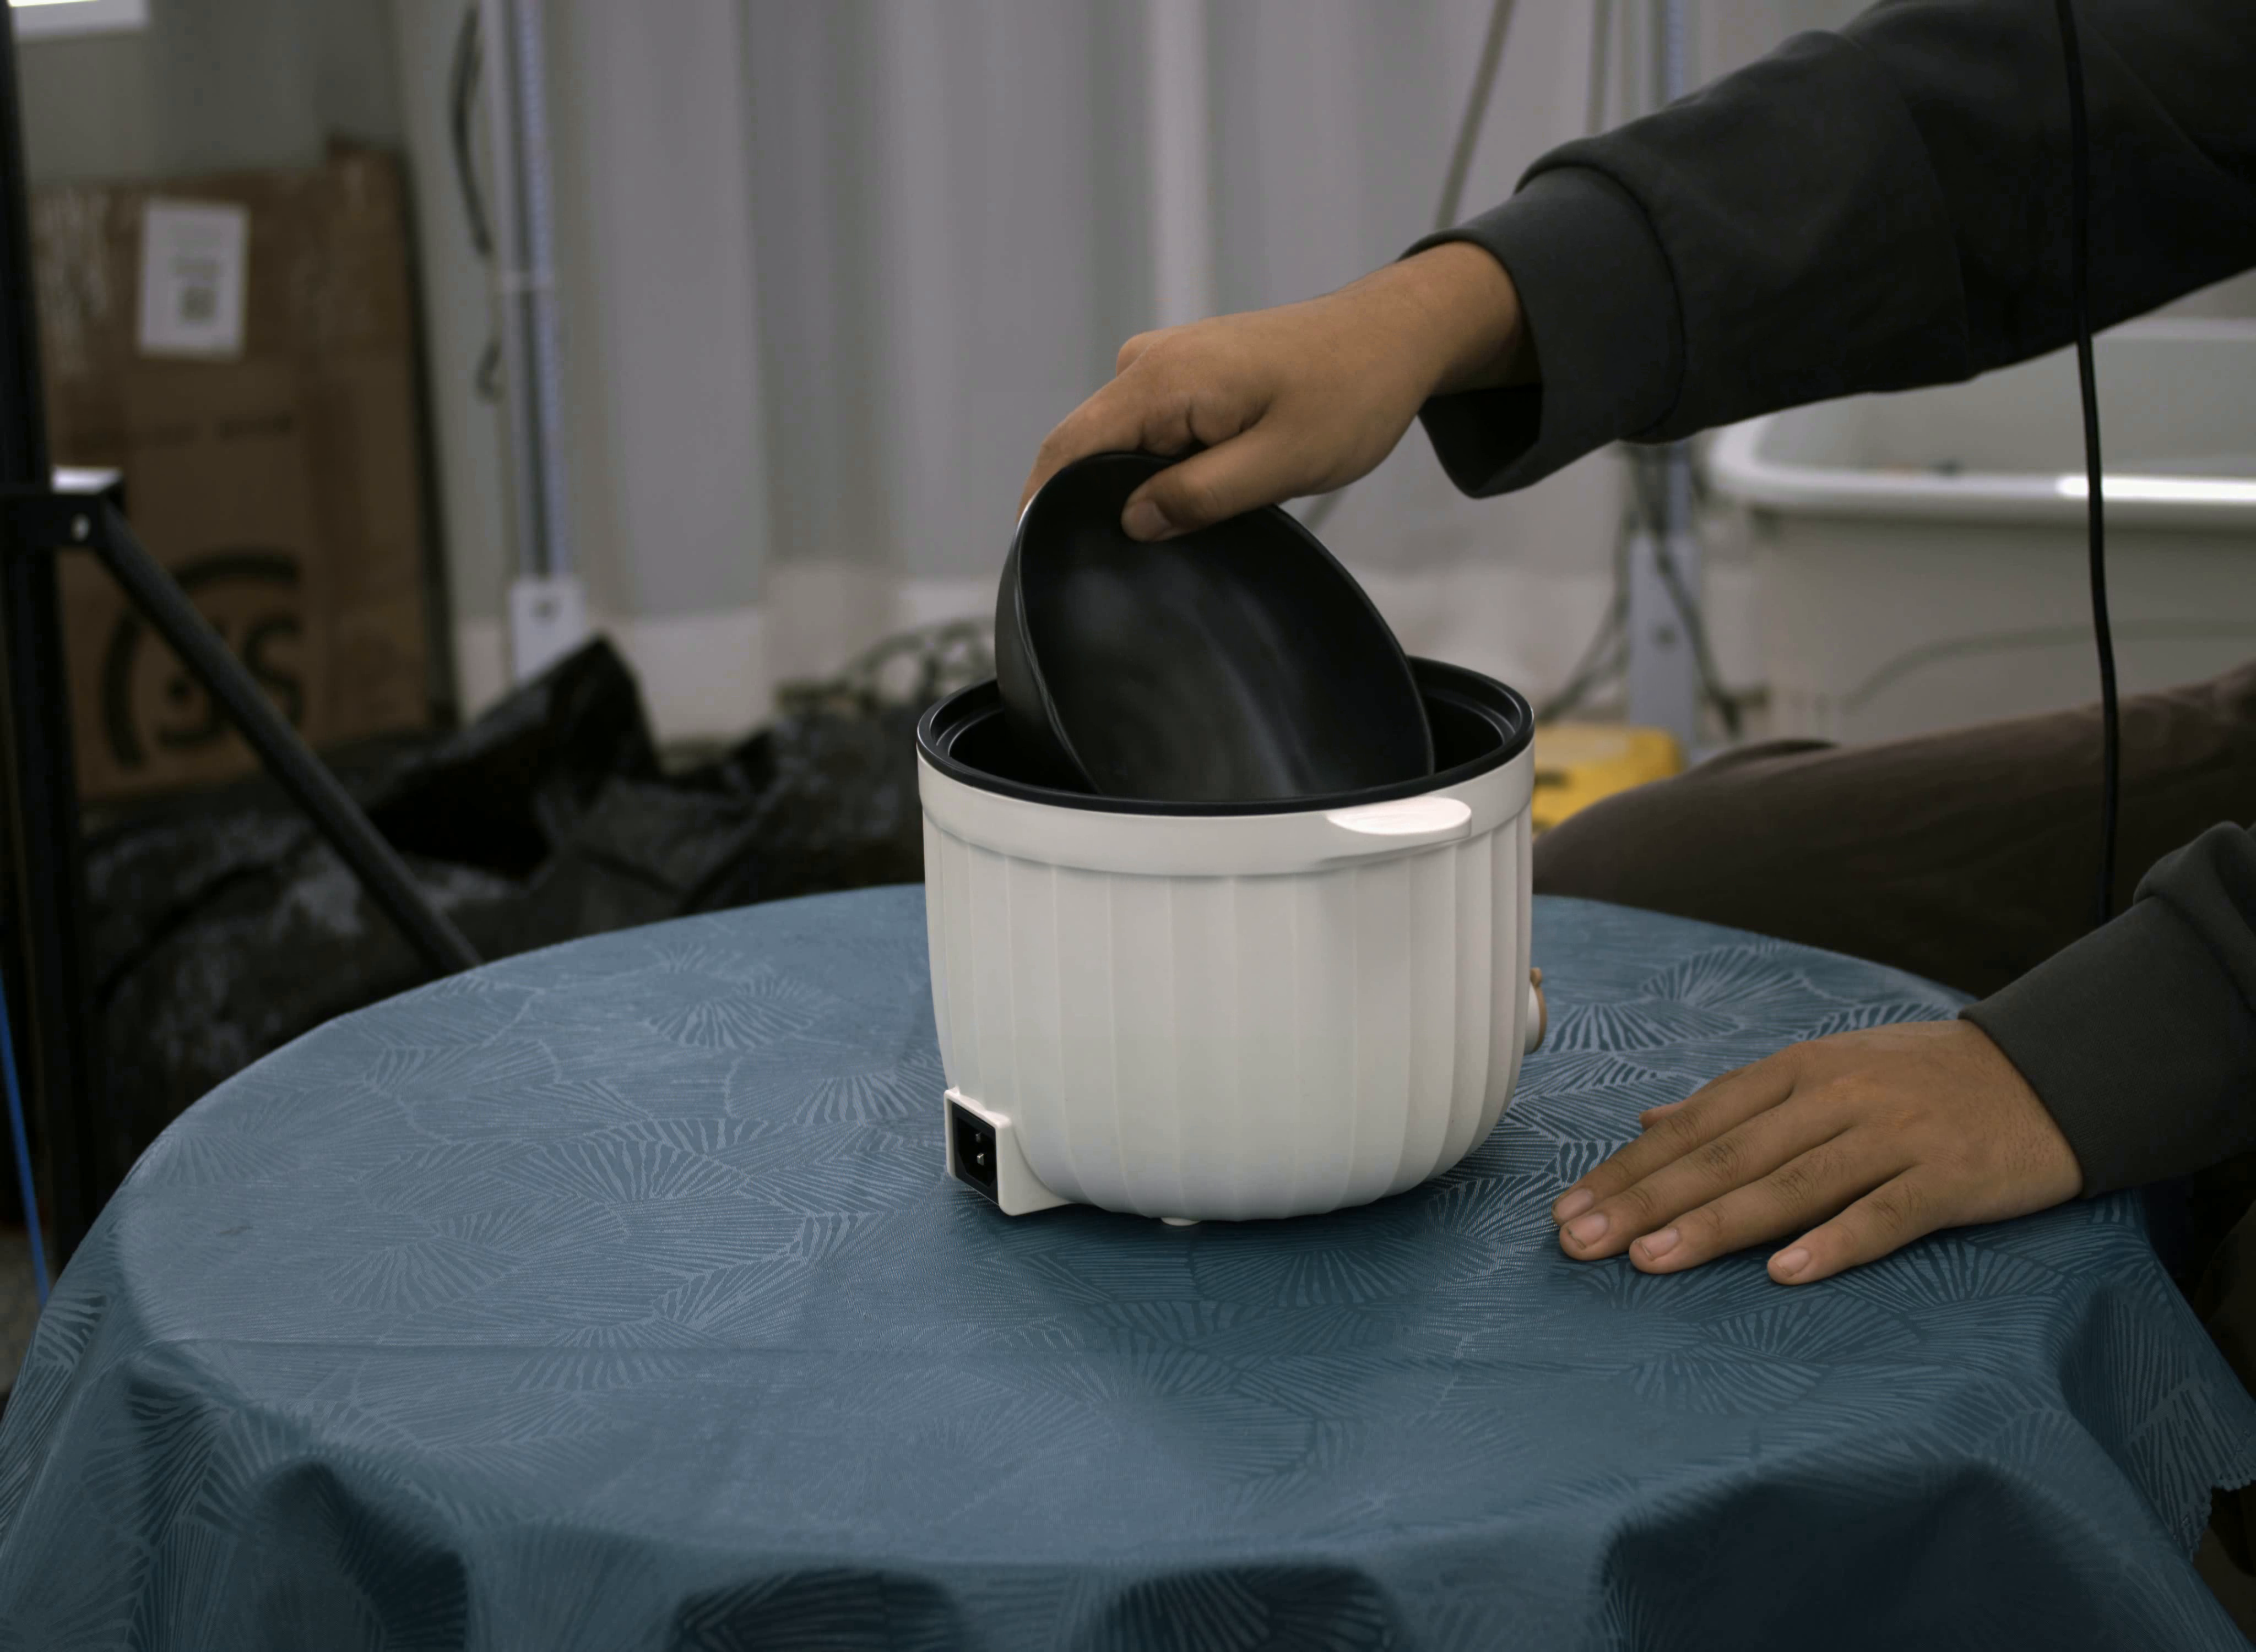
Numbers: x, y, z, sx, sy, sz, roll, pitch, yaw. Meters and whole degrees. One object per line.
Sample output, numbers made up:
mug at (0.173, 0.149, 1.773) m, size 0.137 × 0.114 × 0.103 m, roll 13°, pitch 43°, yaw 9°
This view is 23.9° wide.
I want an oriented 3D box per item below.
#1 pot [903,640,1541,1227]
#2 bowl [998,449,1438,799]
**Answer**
pot at (0.034, 0.032, 1.569) m, size 0.187 × 0.142 × 0.245 m, roll -13°, pitch 20°, yaw -25°
bowl at (0.015, -0.031, 1.580) m, size 0.134 × 0.173 × 0.067 m, roll -6°, pitch -26°, yaw -36°
